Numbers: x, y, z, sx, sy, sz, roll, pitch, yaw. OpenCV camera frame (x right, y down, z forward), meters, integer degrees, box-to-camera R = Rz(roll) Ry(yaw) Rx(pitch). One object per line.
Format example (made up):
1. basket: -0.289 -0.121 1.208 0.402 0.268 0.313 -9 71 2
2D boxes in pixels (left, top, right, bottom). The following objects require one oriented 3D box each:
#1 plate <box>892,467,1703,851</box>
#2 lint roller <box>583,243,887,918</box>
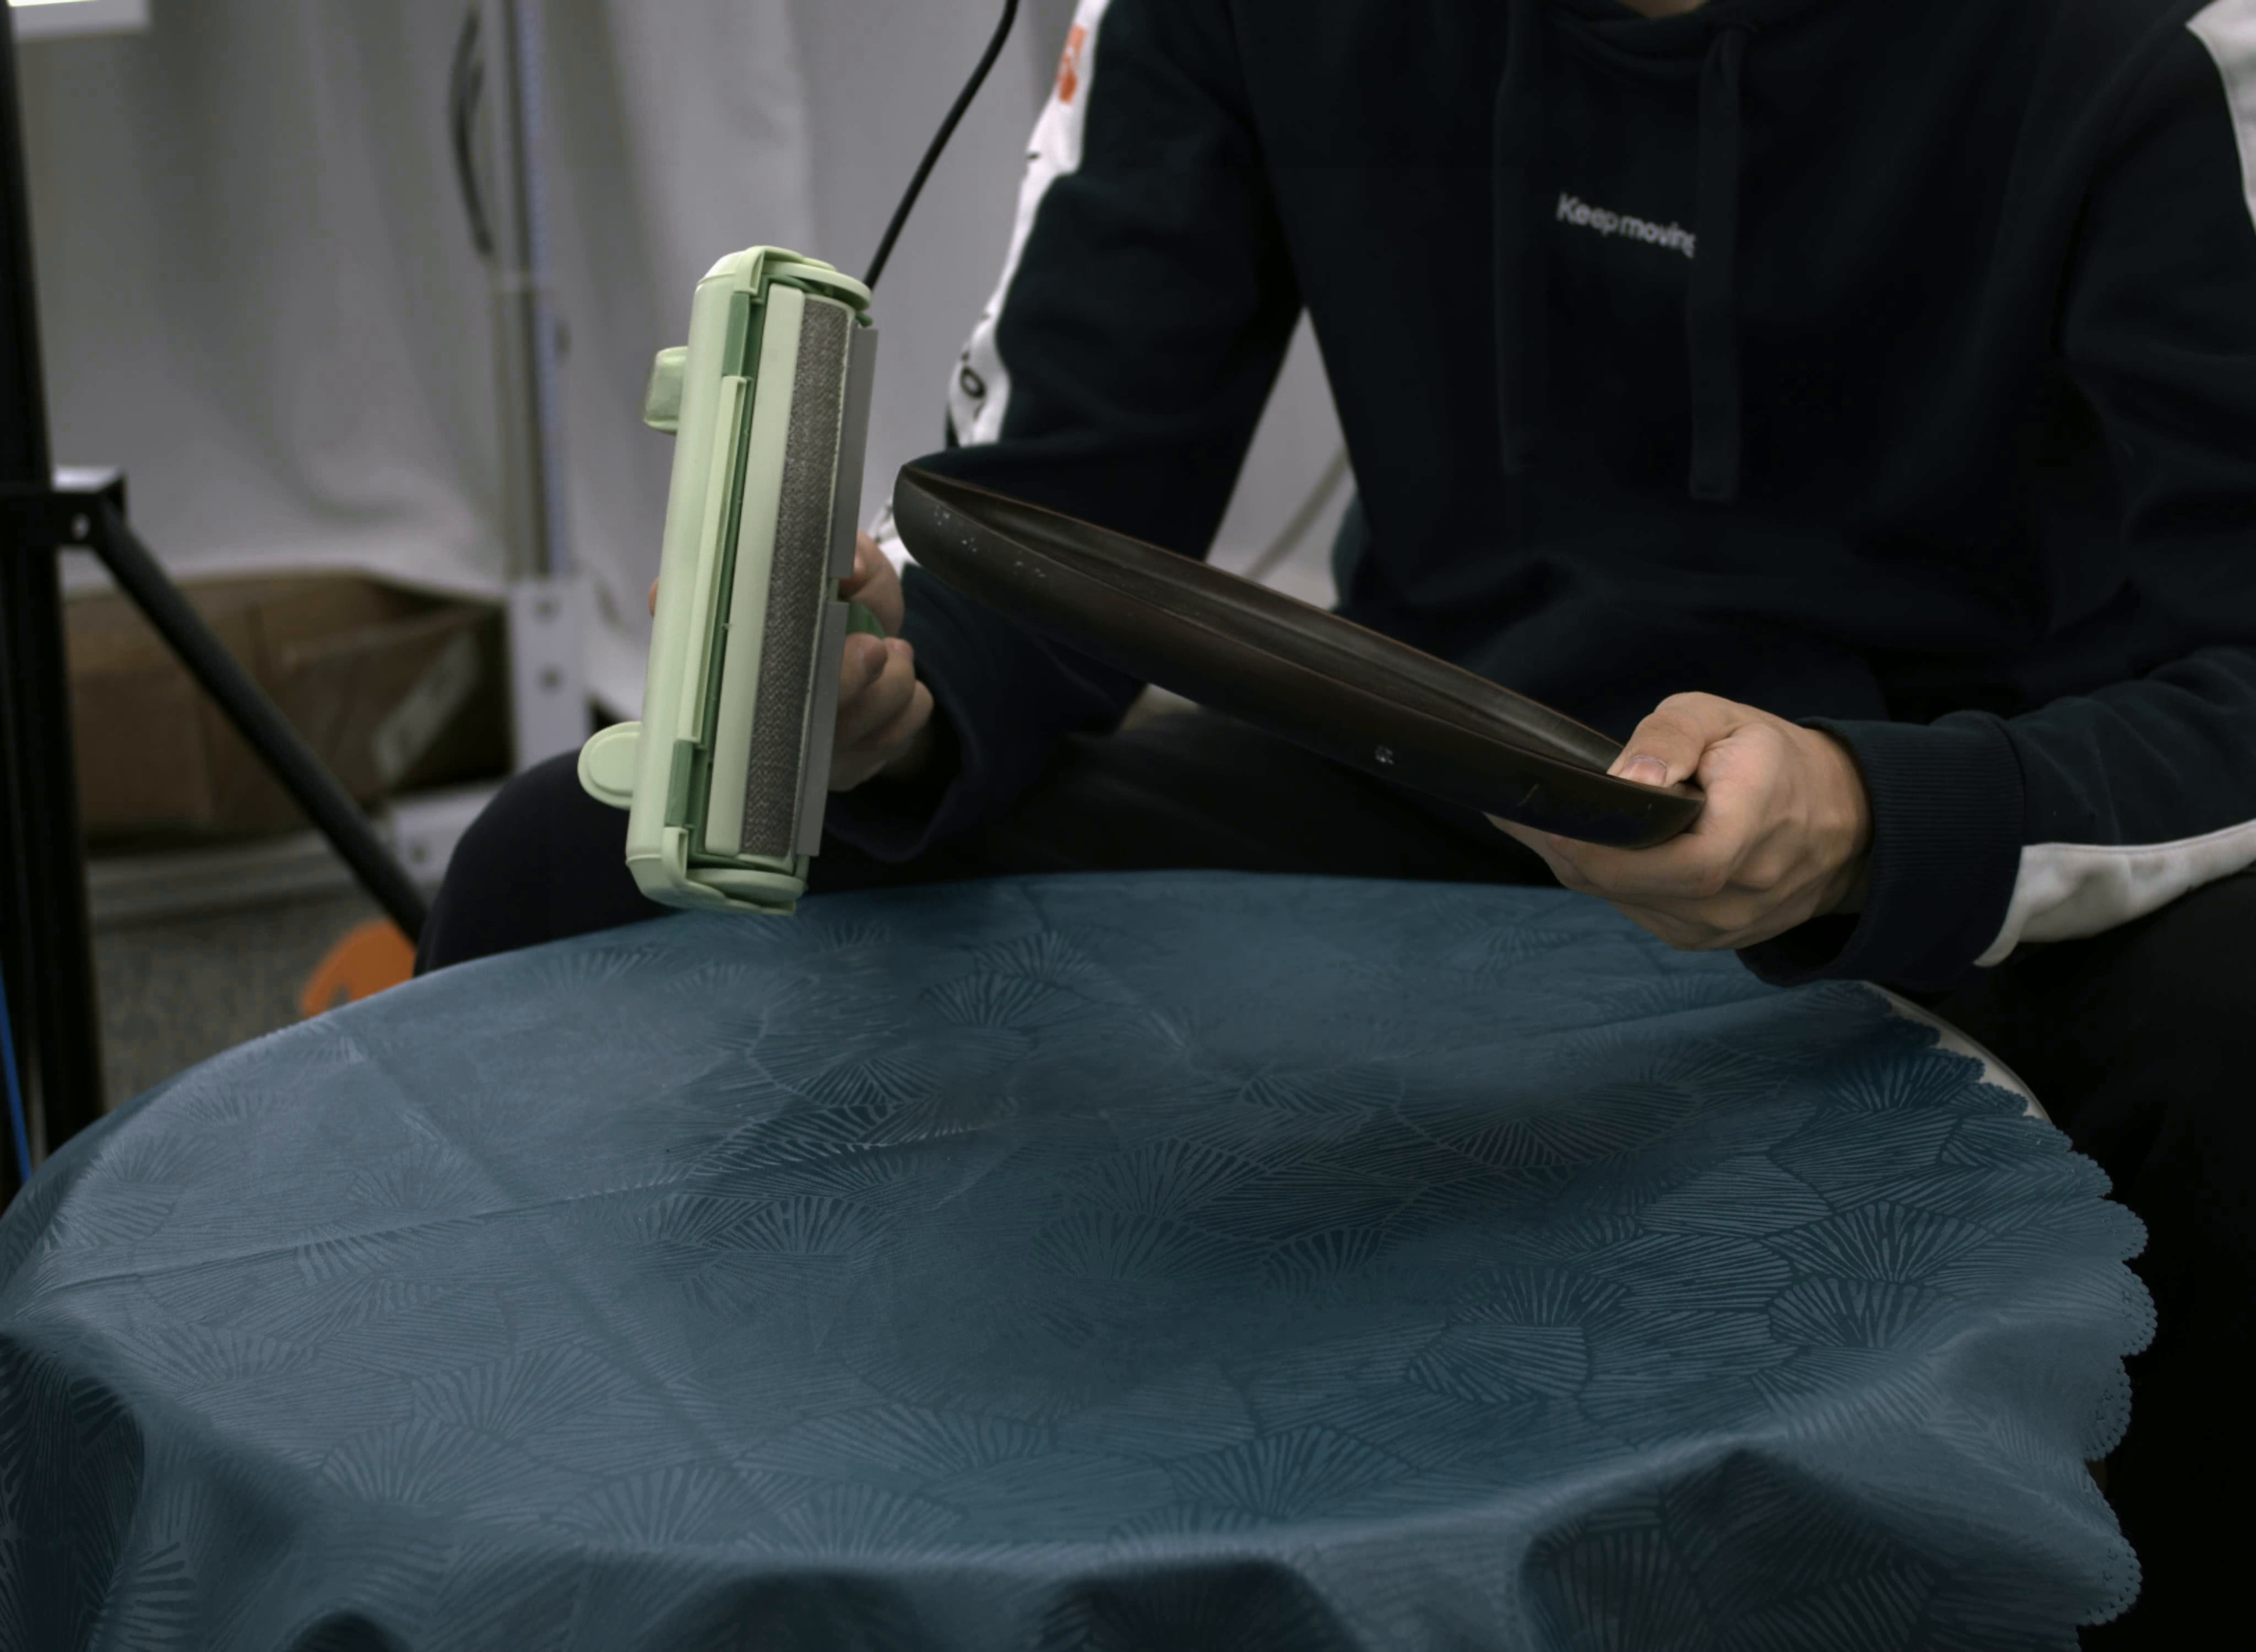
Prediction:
1. plate: 0.047 -0.048 1.538 0.253 0.029 0.255 20 7 -4
2. lint roller: -0.119 -0.065 1.654 0.082 0.200 0.182 5 -8 1
